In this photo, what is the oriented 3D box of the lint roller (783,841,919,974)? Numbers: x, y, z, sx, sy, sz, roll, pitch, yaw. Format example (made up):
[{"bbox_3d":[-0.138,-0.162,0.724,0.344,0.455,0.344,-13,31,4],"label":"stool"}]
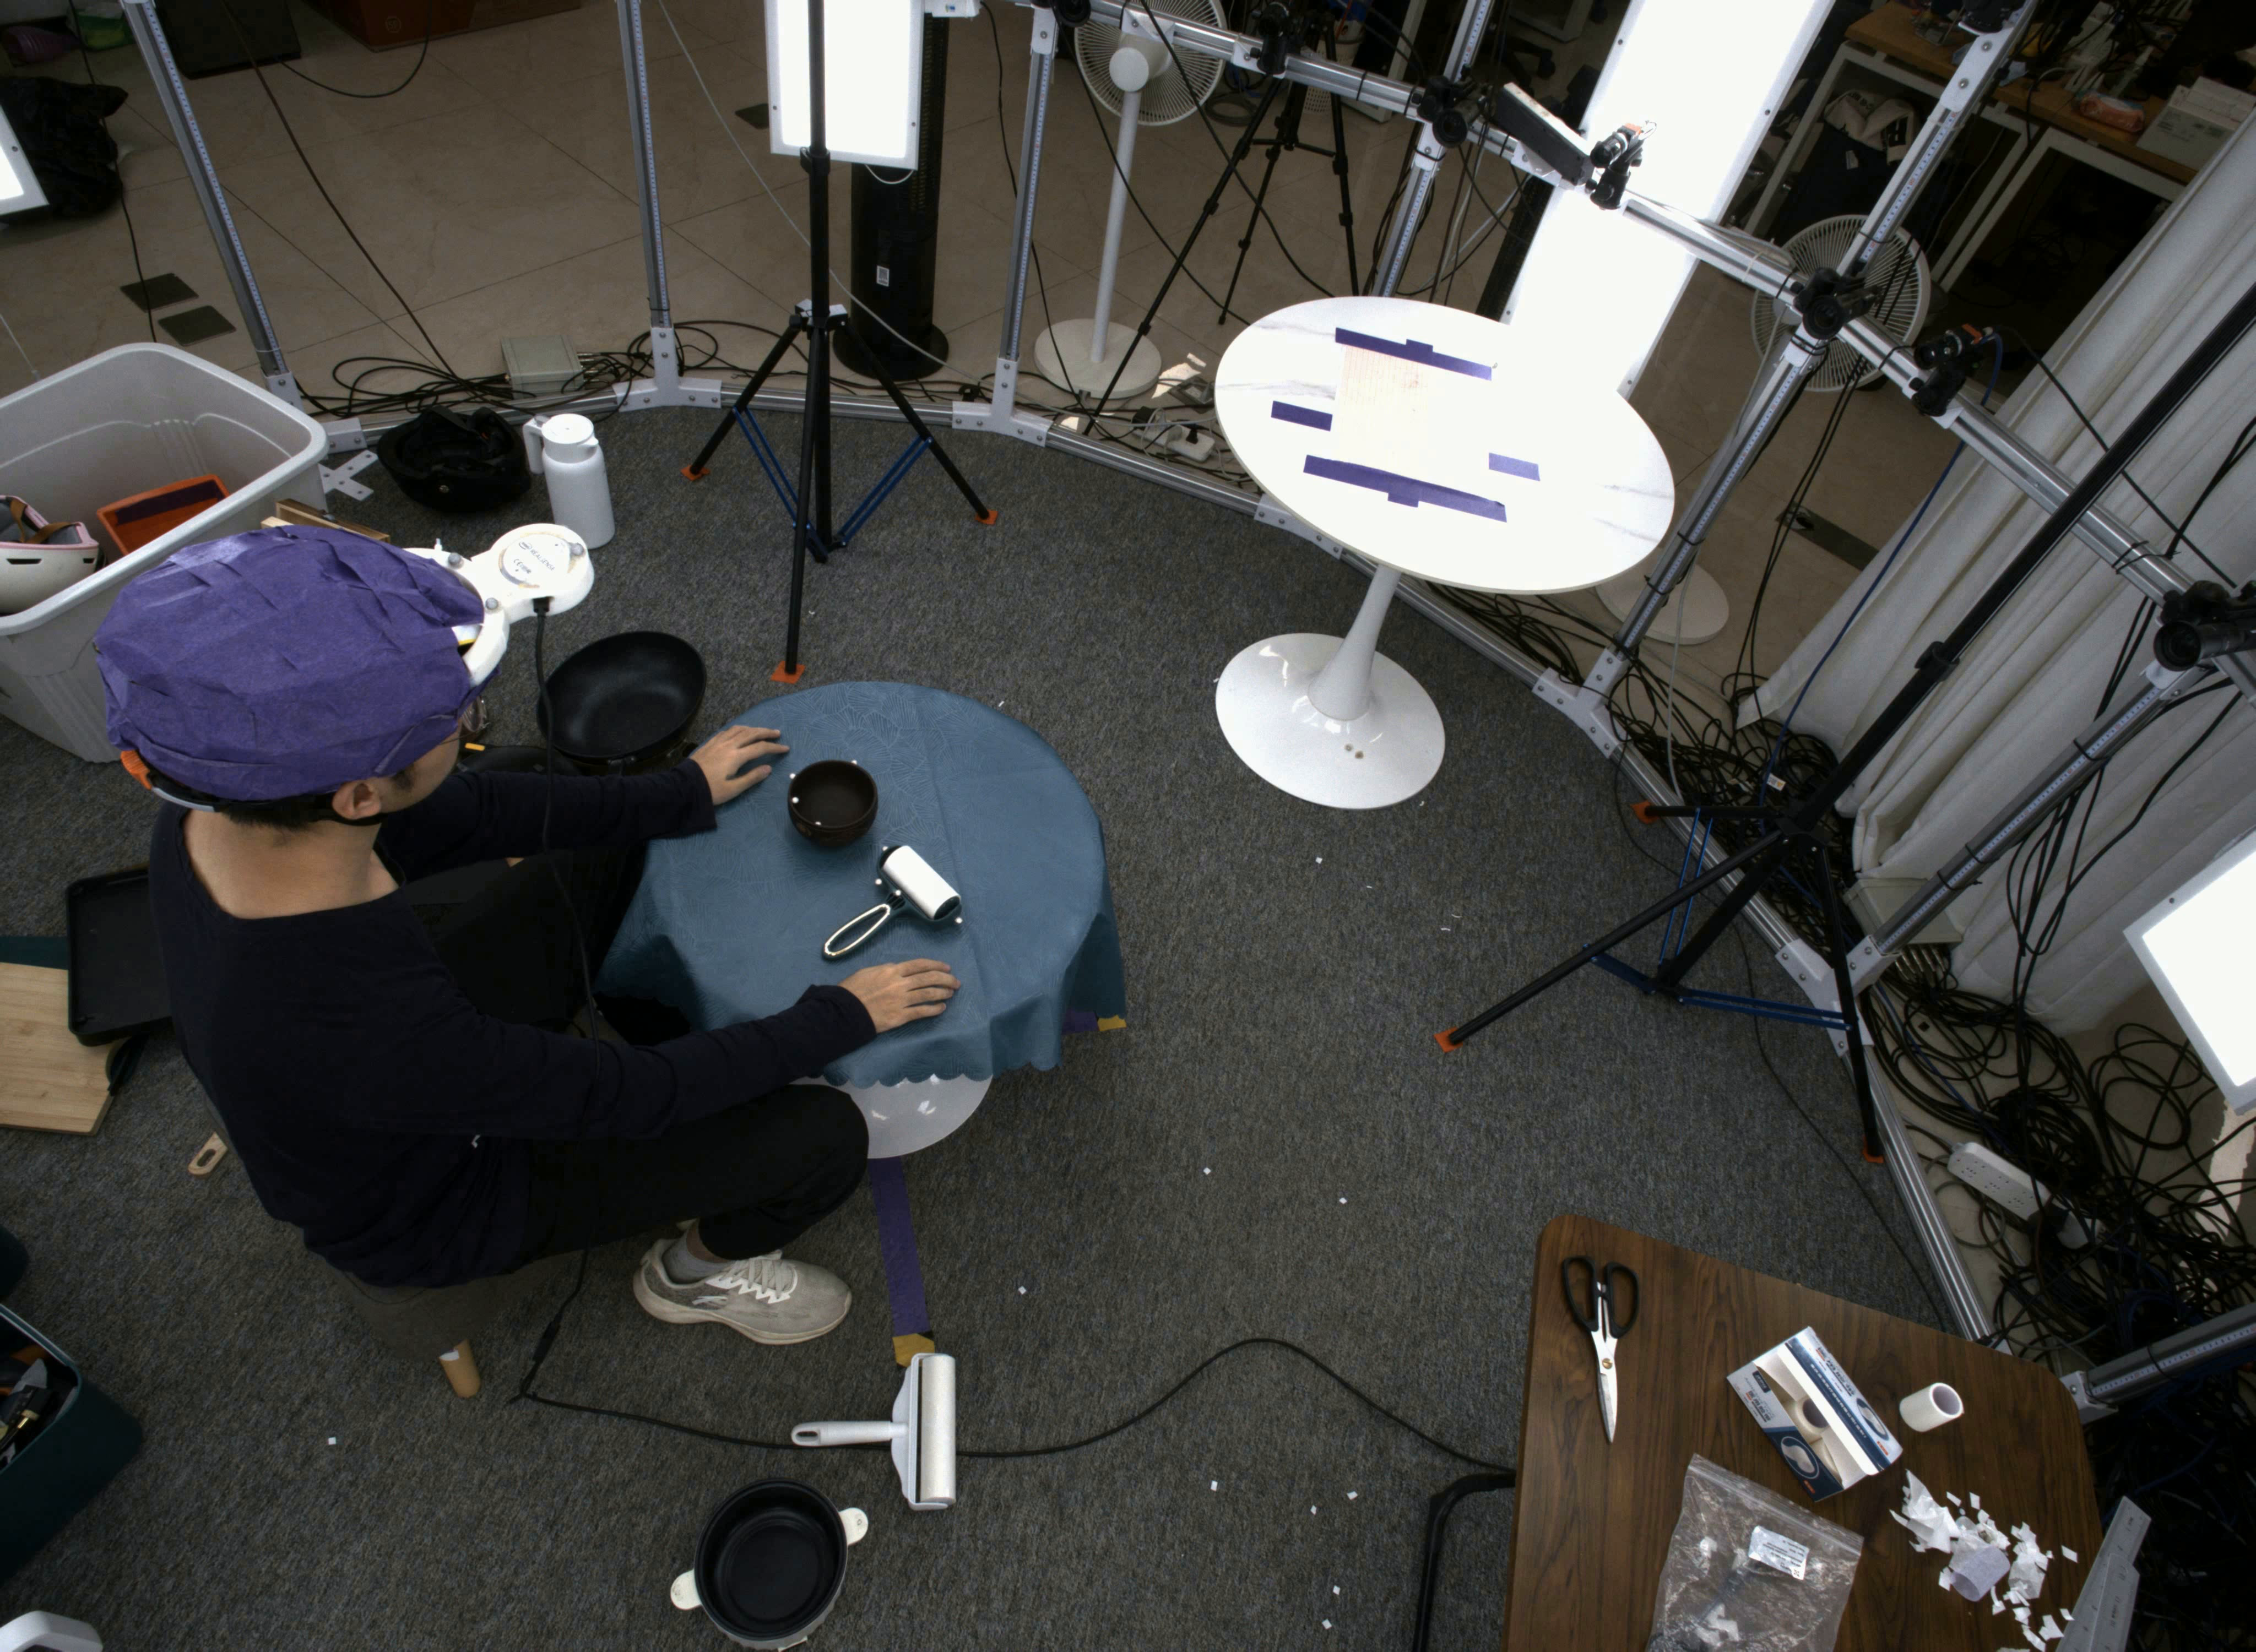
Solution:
[{"bbox_3d":[-0.366,0.114,1.641,0.131,0.049,0.180,40,60,15],"label":"lint roller"}]

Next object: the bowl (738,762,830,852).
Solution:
[{"bbox_3d":[-0.449,-0.018,1.696,0.118,0.071,0.116,7,55,-8],"label":"bowl"}]
